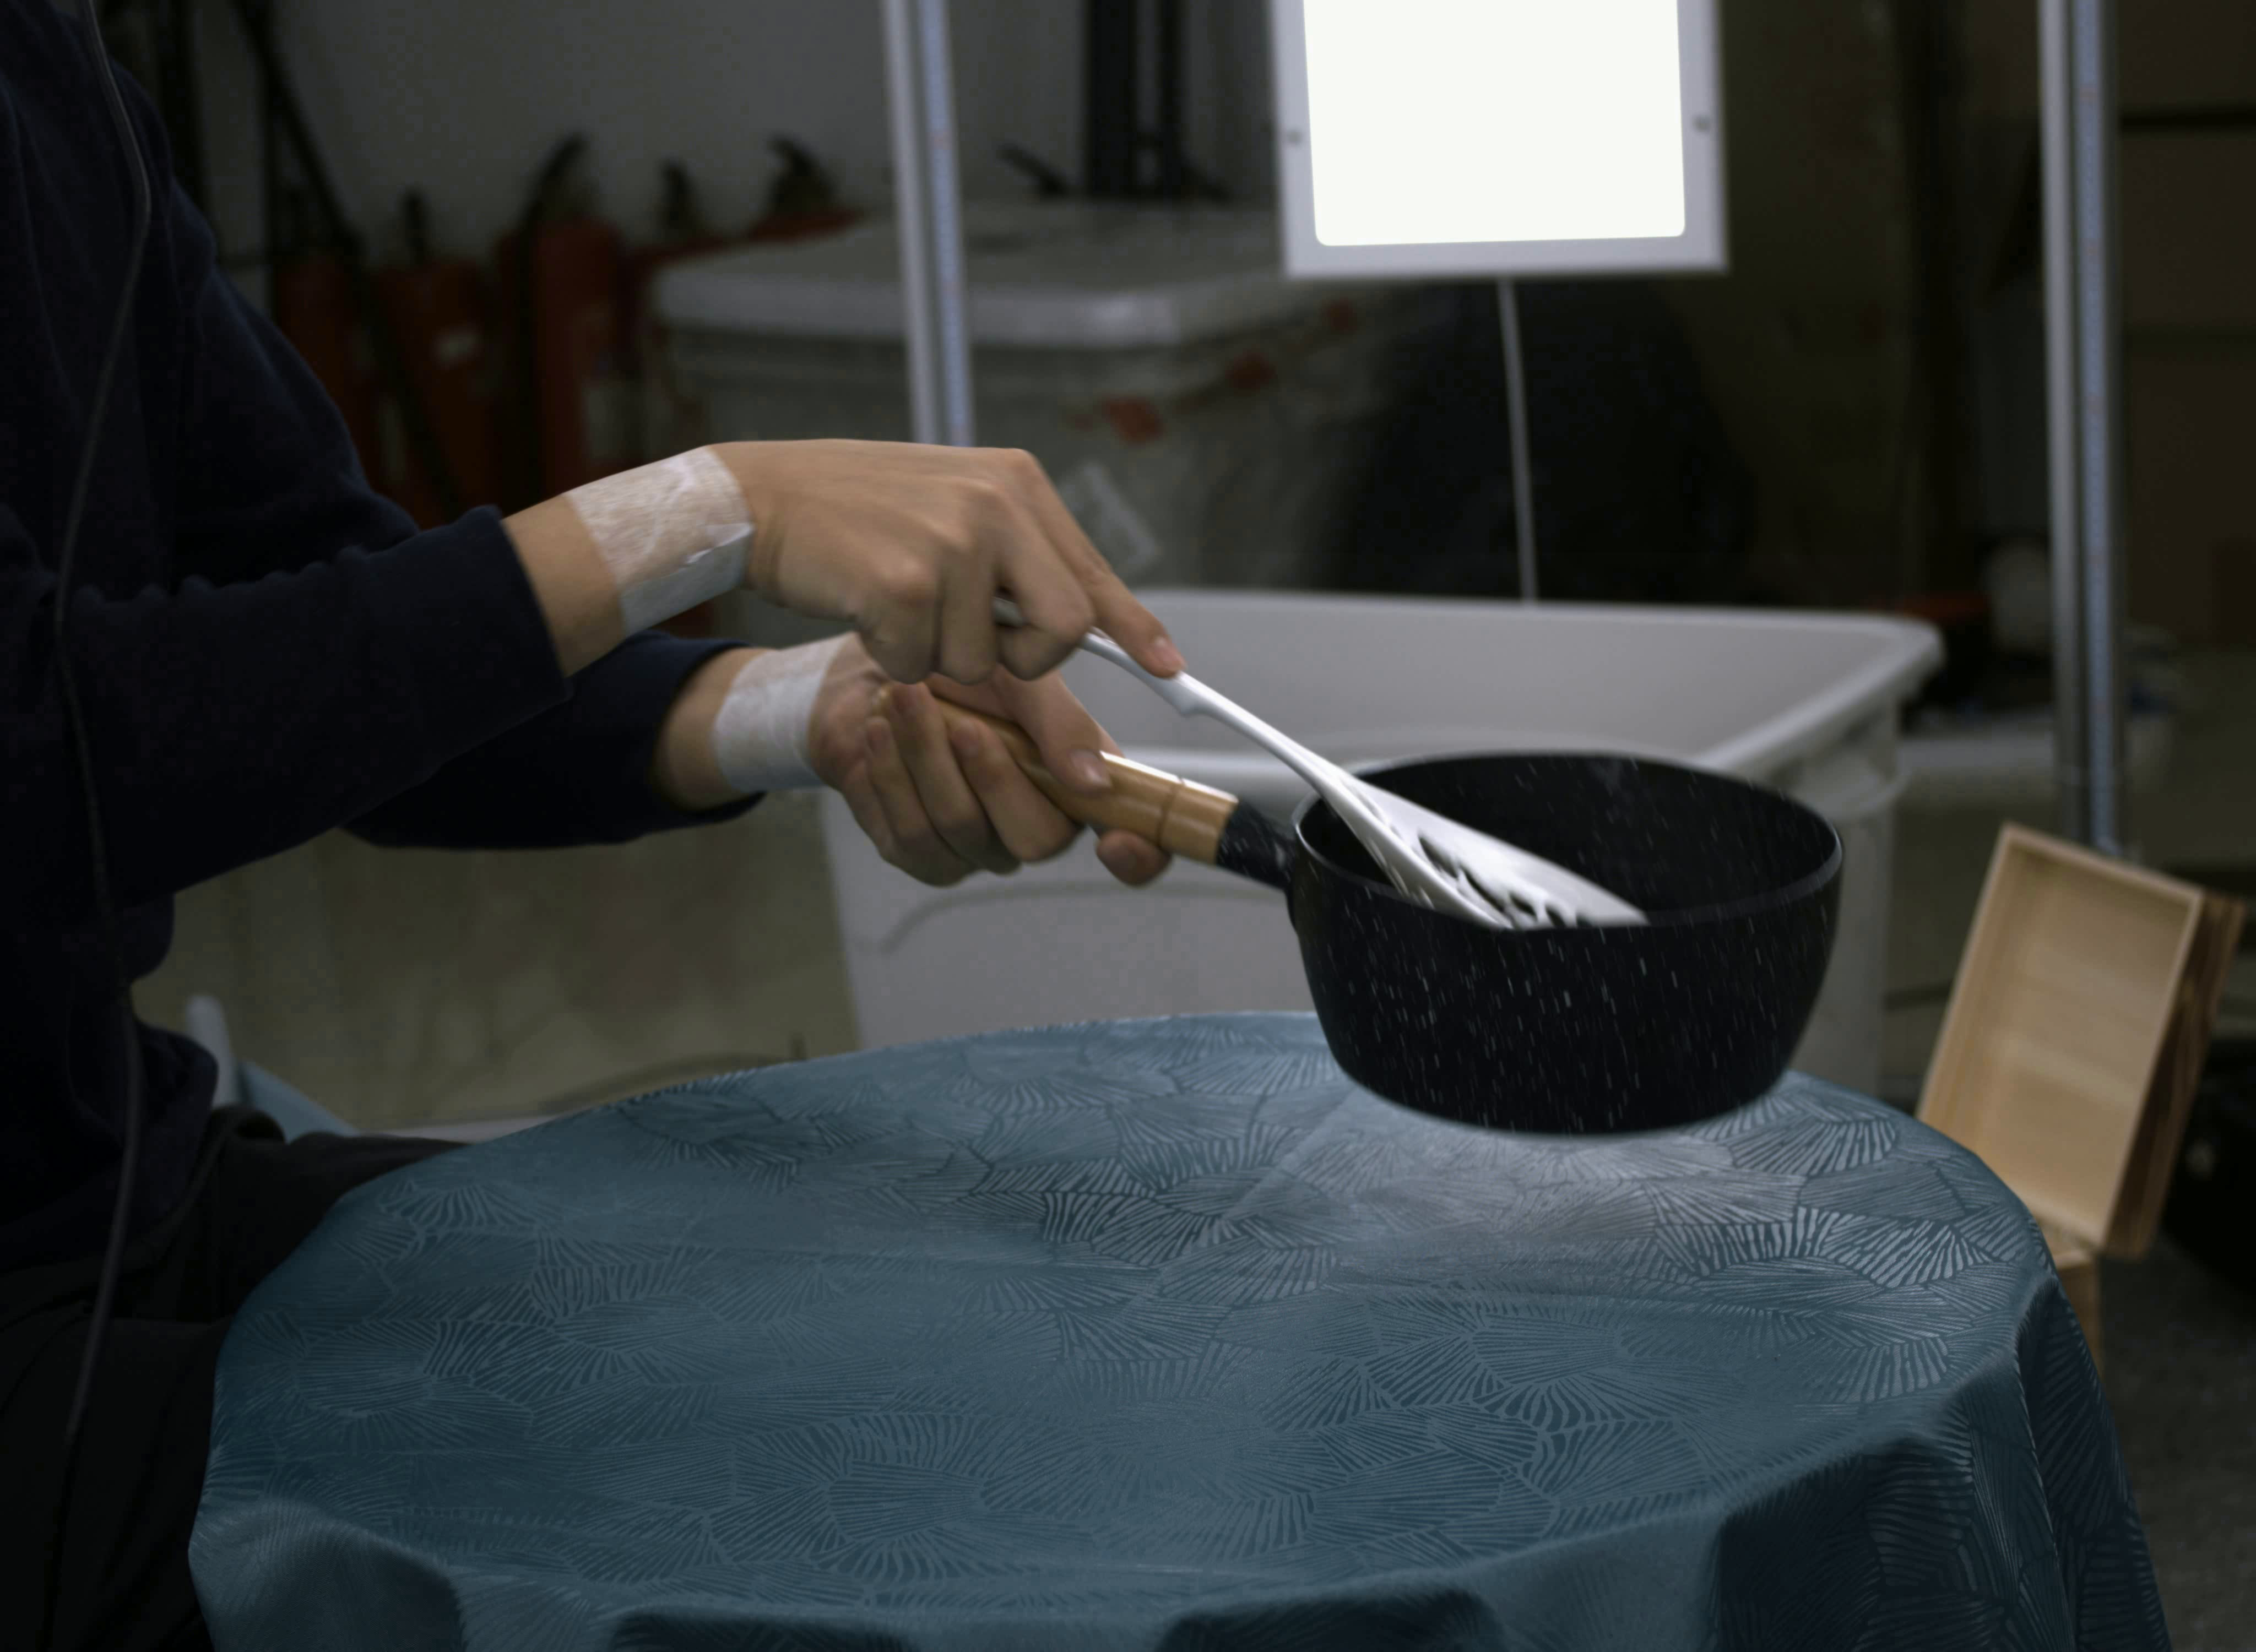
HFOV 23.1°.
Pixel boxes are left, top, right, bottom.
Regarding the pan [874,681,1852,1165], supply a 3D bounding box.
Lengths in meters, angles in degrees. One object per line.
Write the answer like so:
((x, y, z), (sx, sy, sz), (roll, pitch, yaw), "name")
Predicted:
((0.072, 0.026, 1.860), (0.346, 0.109, 0.204), (8, 20, 17), "pan")

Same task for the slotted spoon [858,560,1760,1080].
((0.065, -0.005, 1.827), (0.346, 0.051, 0.136), (36, 14, -7), "slotted spoon")
